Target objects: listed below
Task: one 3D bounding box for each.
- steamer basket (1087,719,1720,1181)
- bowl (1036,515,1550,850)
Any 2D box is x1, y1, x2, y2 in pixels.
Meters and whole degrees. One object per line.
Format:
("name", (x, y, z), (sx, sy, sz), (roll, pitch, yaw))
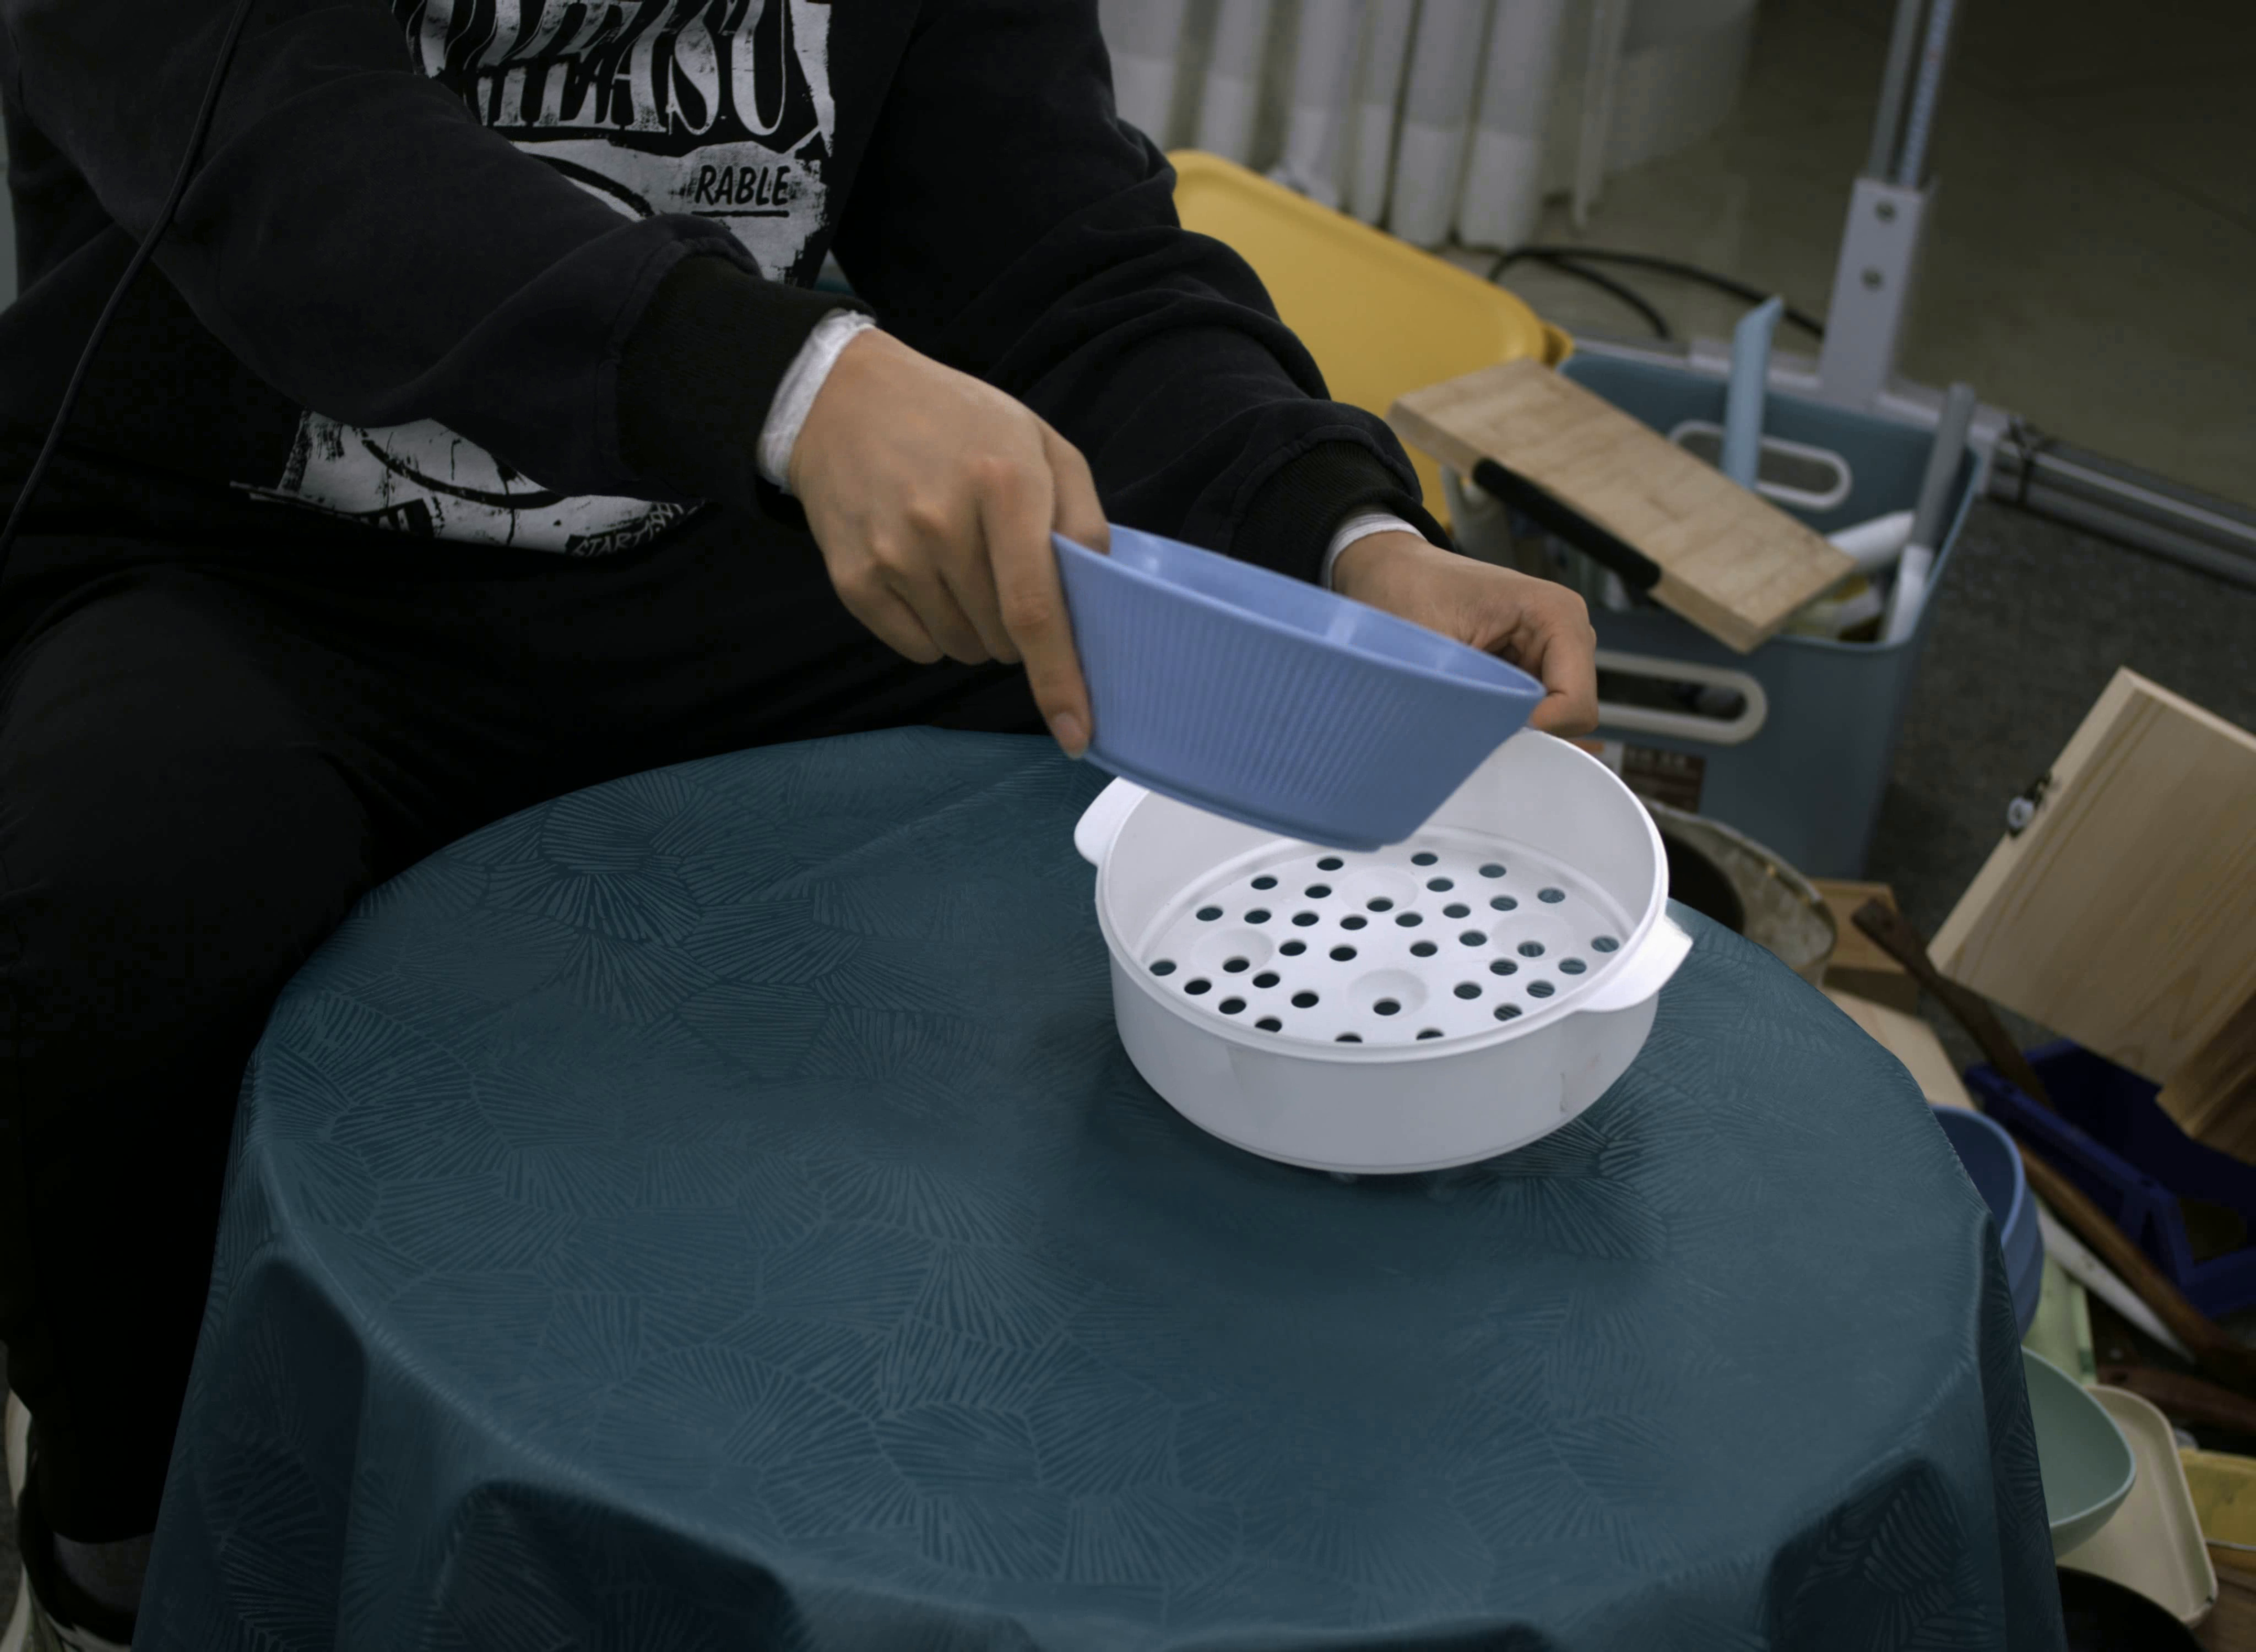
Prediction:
("steamer basket", (0.095, 0.041, 1.871), (0.231, 0.069, 0.202), (18, 42, 24))
("bowl", (0.043, -0.042, 1.720), (0.175, 0.070, 0.176), (20, 5, -2))
